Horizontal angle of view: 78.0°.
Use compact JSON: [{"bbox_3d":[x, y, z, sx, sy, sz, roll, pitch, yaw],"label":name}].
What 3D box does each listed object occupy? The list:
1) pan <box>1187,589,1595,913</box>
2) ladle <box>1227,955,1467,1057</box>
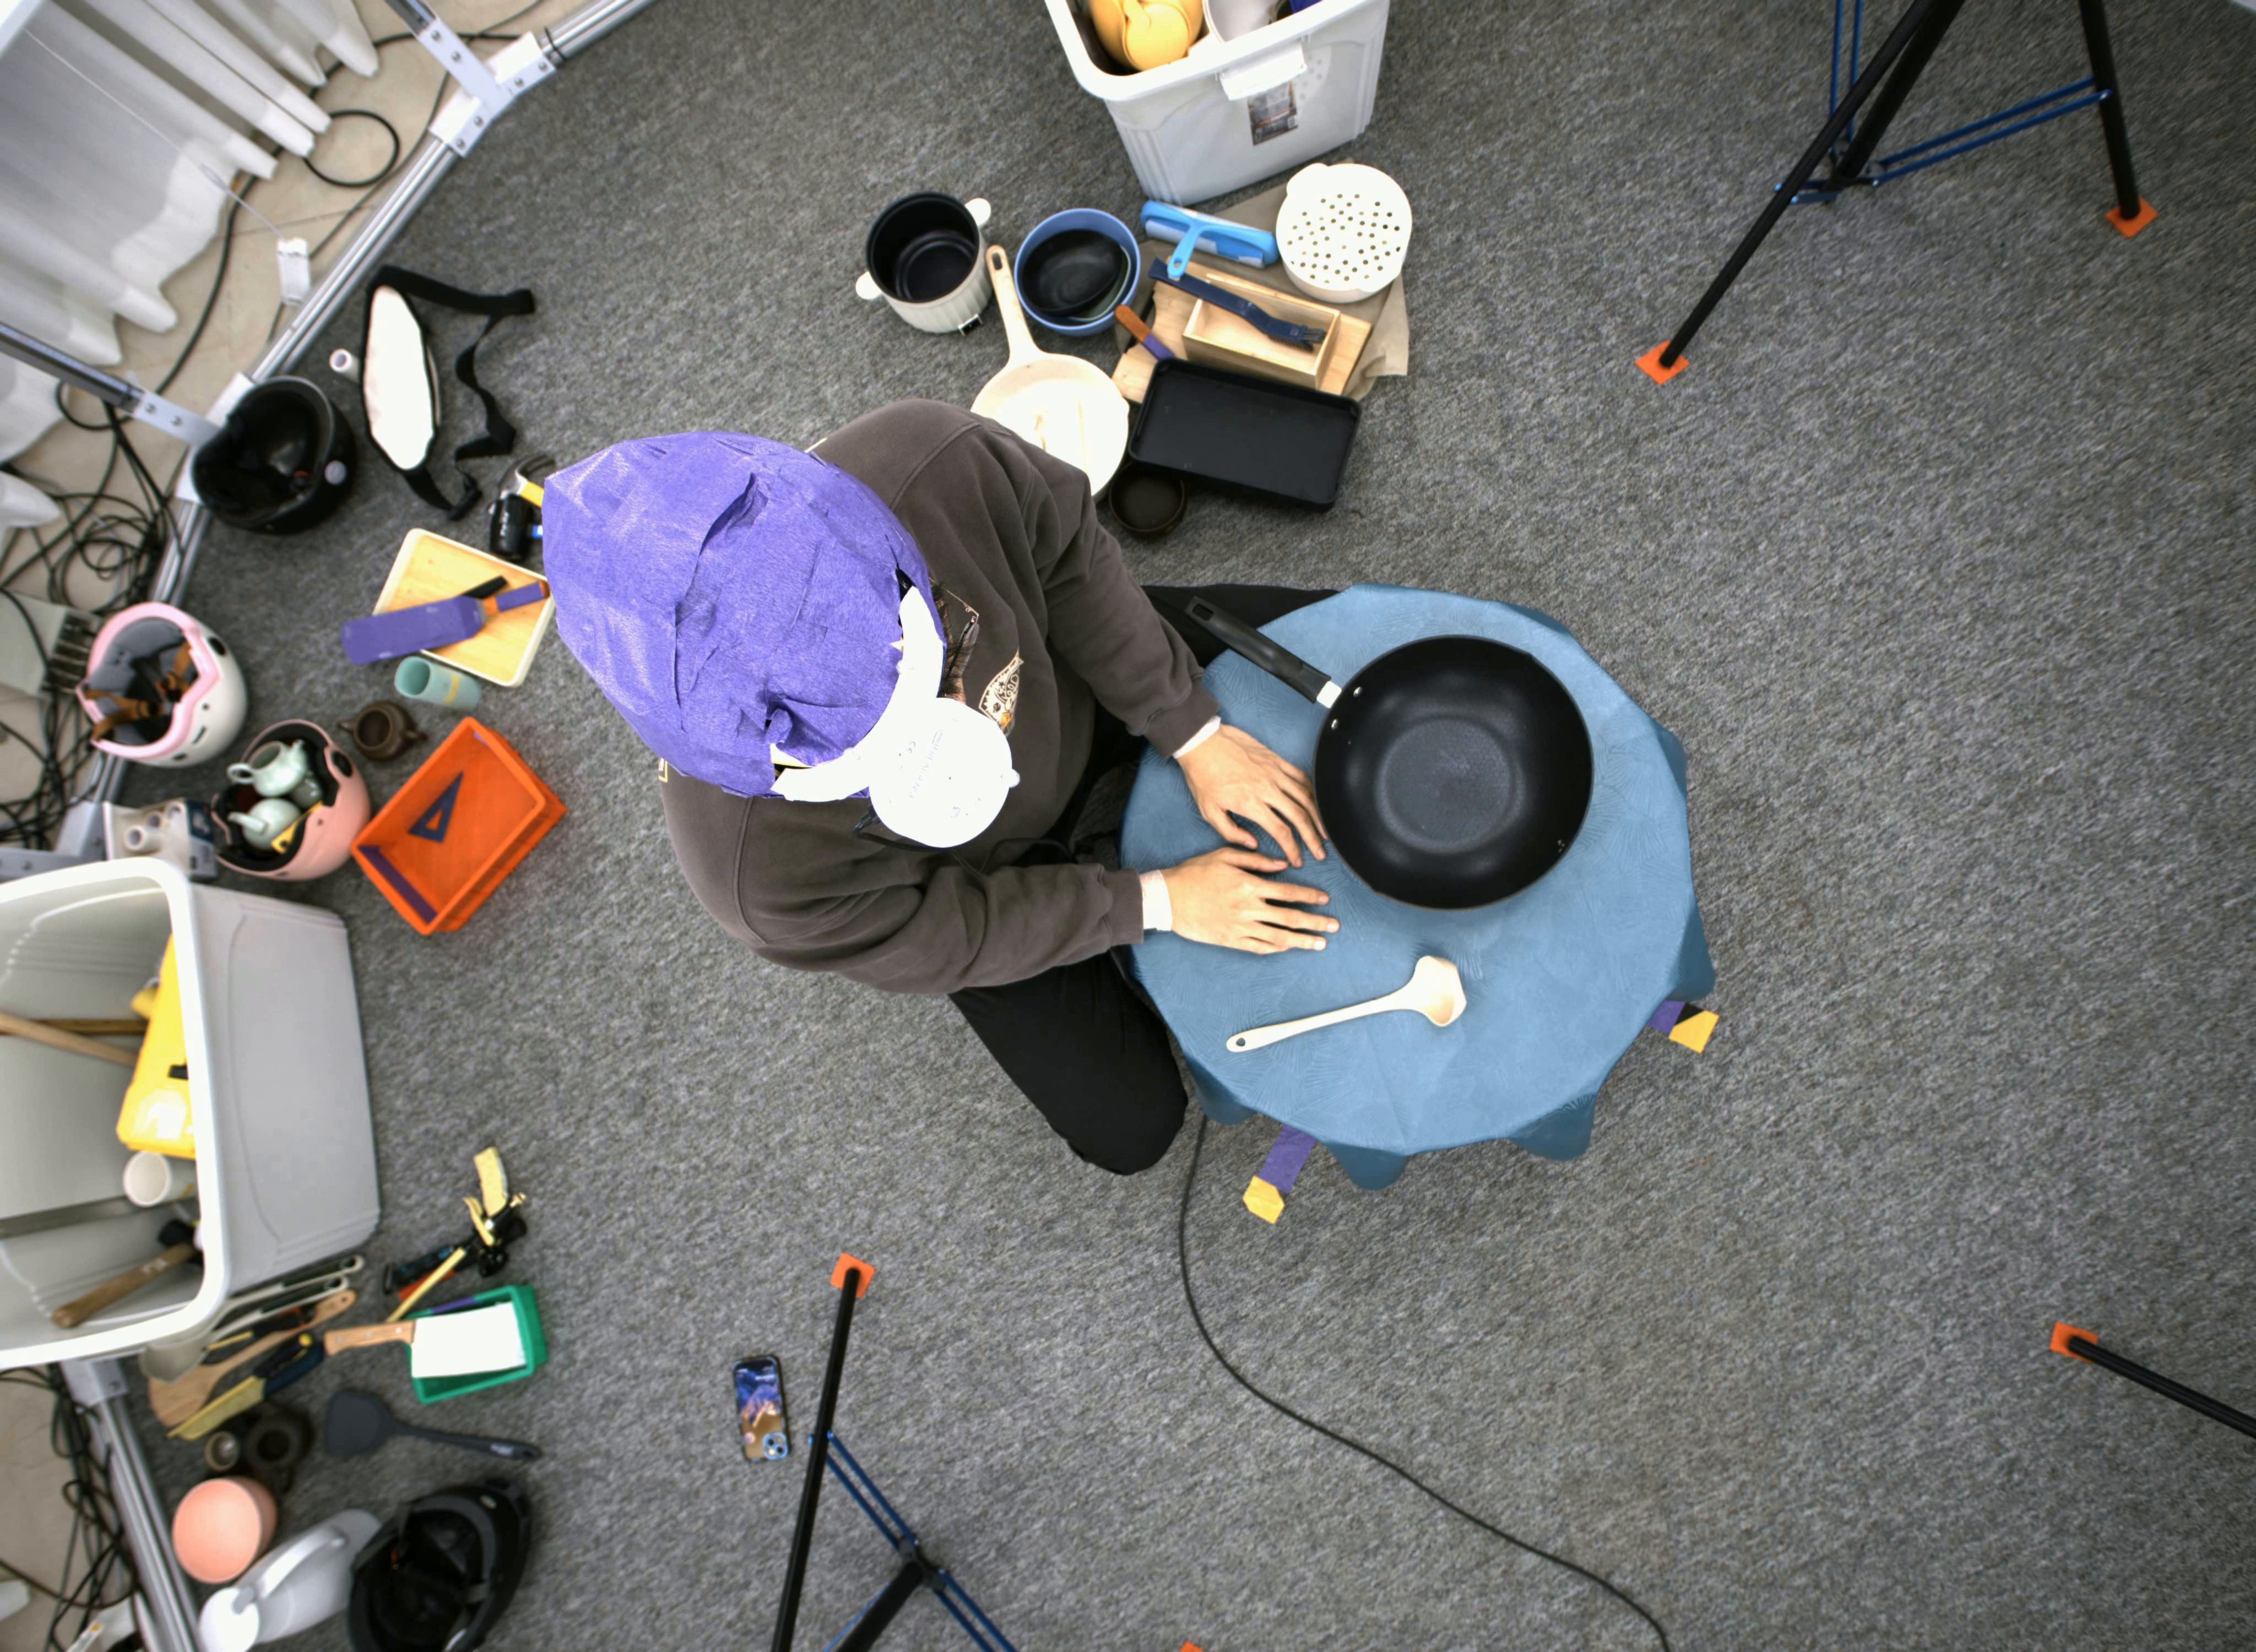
[{"bbox_3d":[0.255,-0.102,1.427,0.462,0.087,0.289,35,94,11],"label":"pan"},{"bbox_3d":[0.220,0.196,1.424,0.256,0.073,0.072,-18,85,8],"label":"ladle"}]
